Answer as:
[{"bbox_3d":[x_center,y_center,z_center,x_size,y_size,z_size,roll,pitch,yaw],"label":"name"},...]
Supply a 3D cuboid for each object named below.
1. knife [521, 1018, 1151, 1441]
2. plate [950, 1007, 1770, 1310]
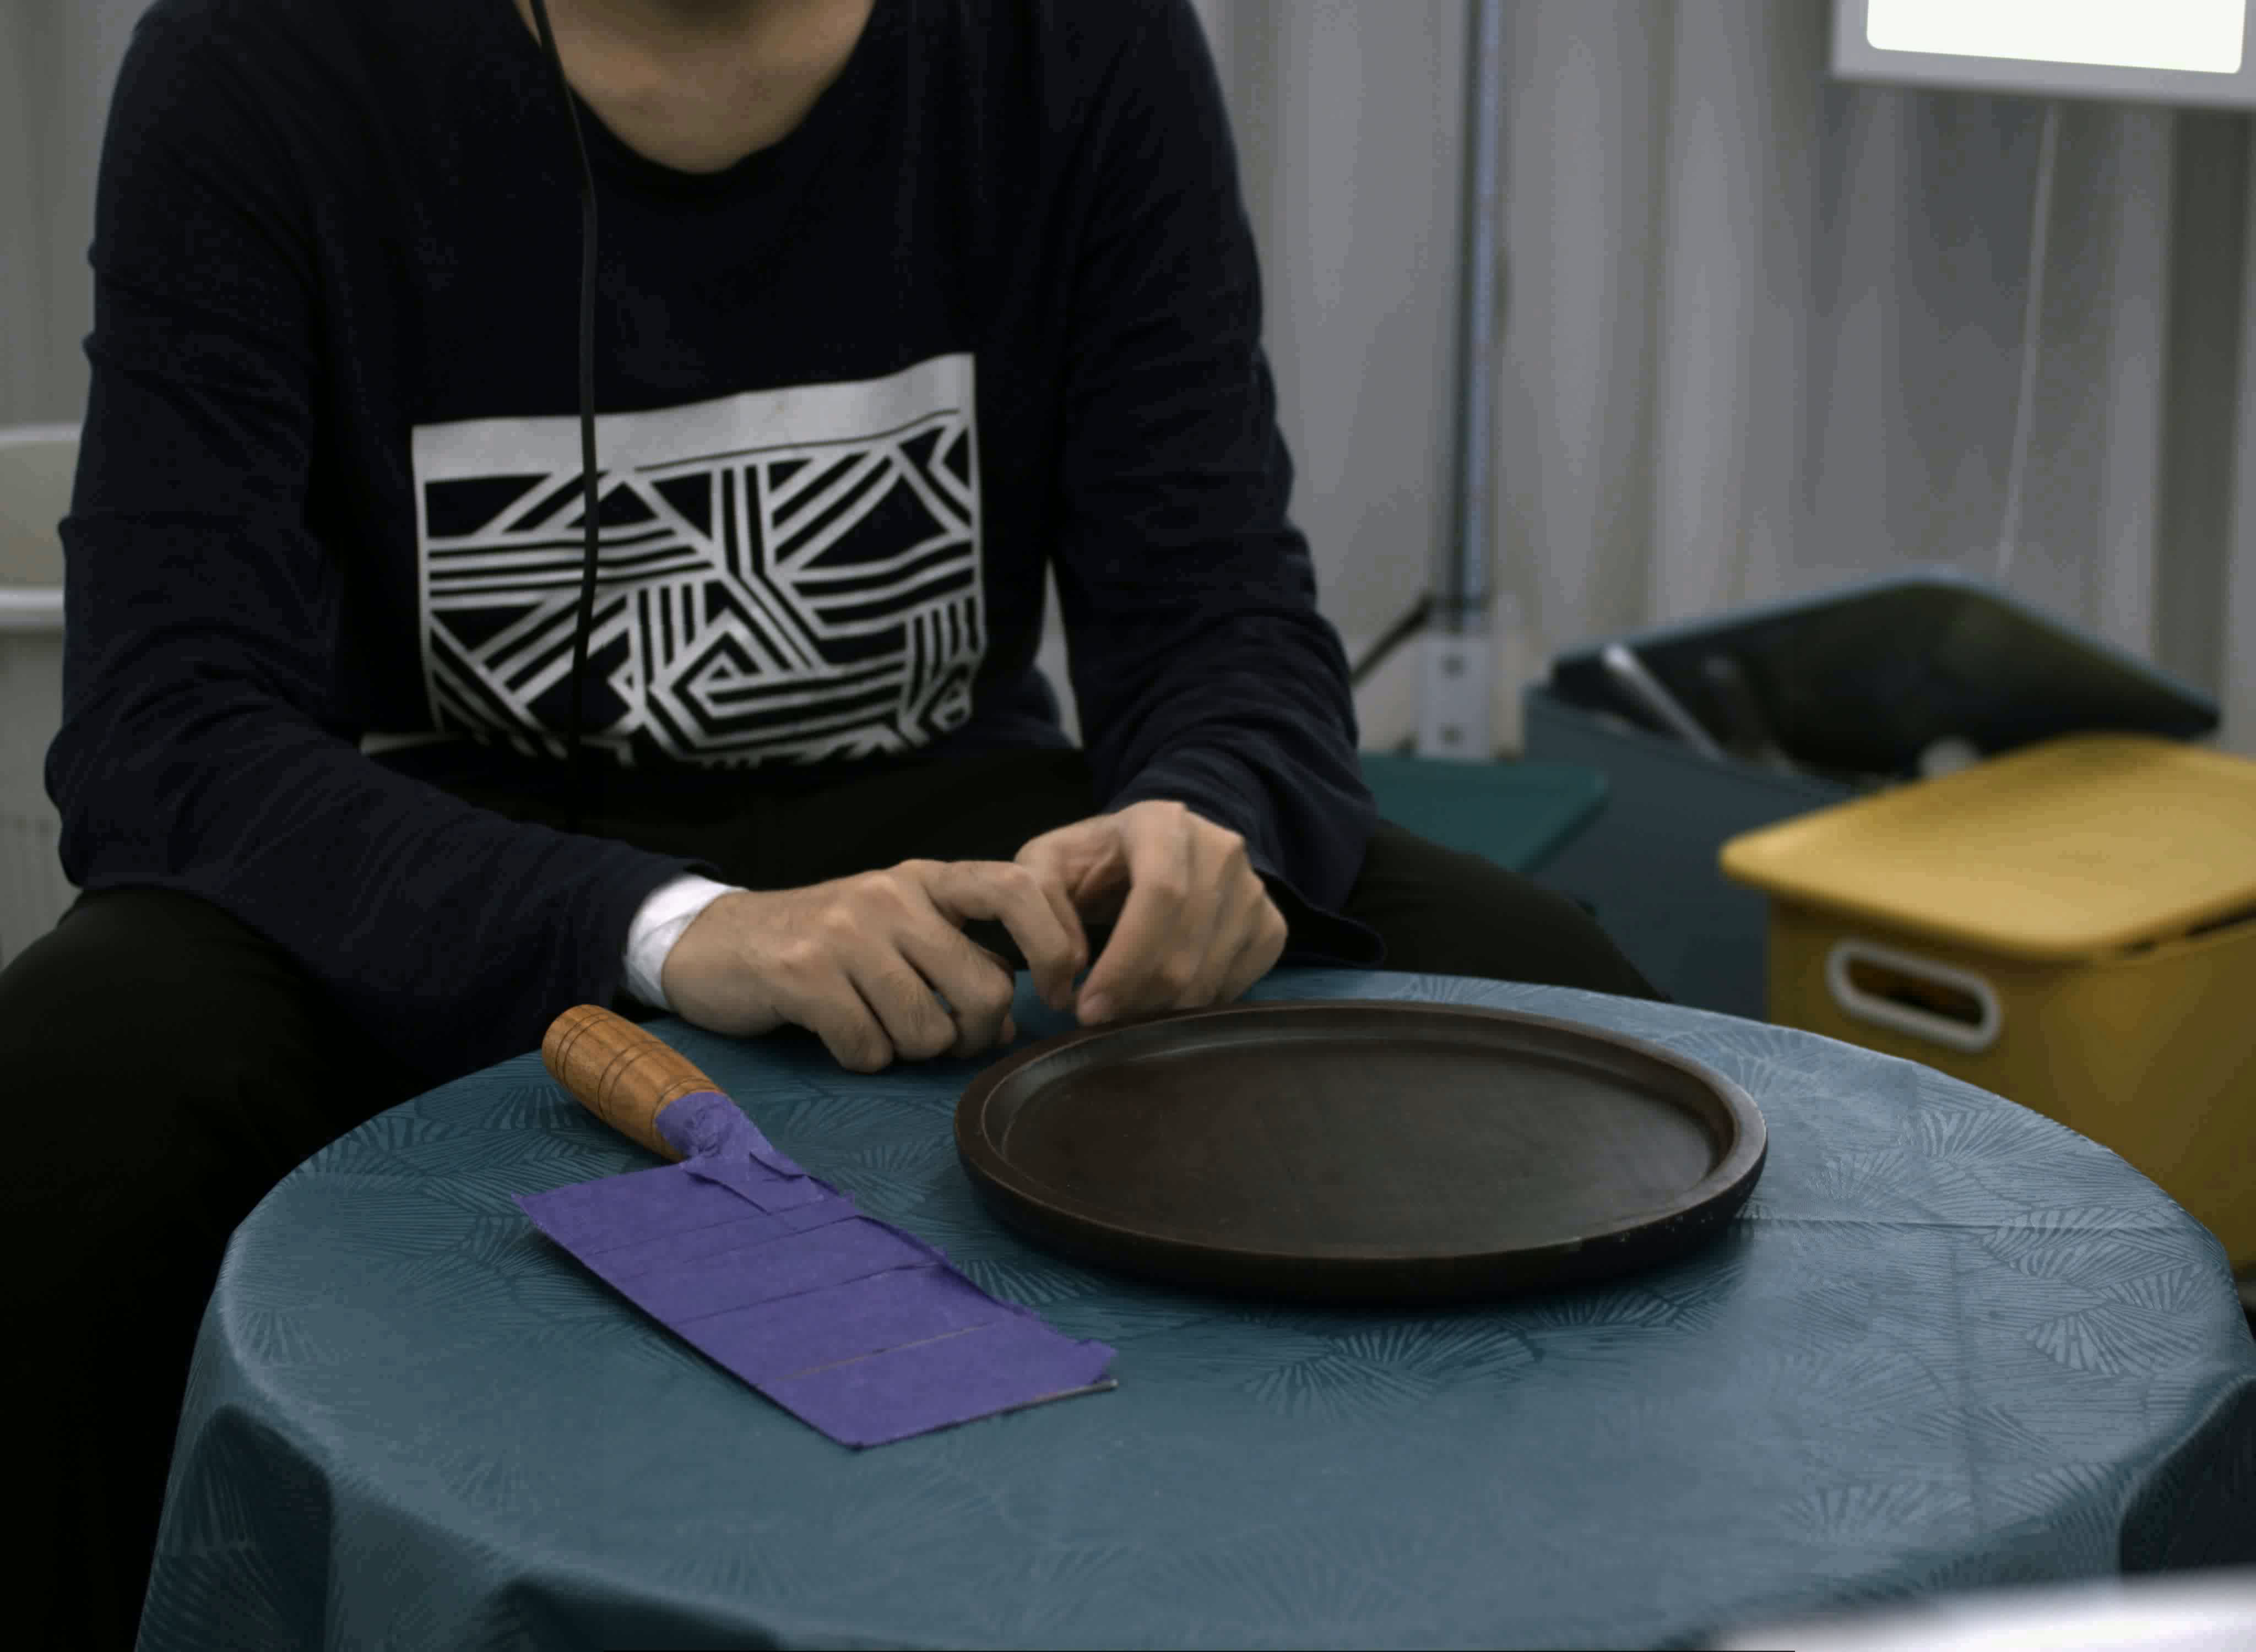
[{"bbox_3d":[-0.120,0.115,1.559,0.104,0.032,0.311,-9,19,-33],"label":"knife"},{"bbox_3d":[0.071,0.100,1.629,0.254,0.029,0.253,1,16,0],"label":"plate"}]
